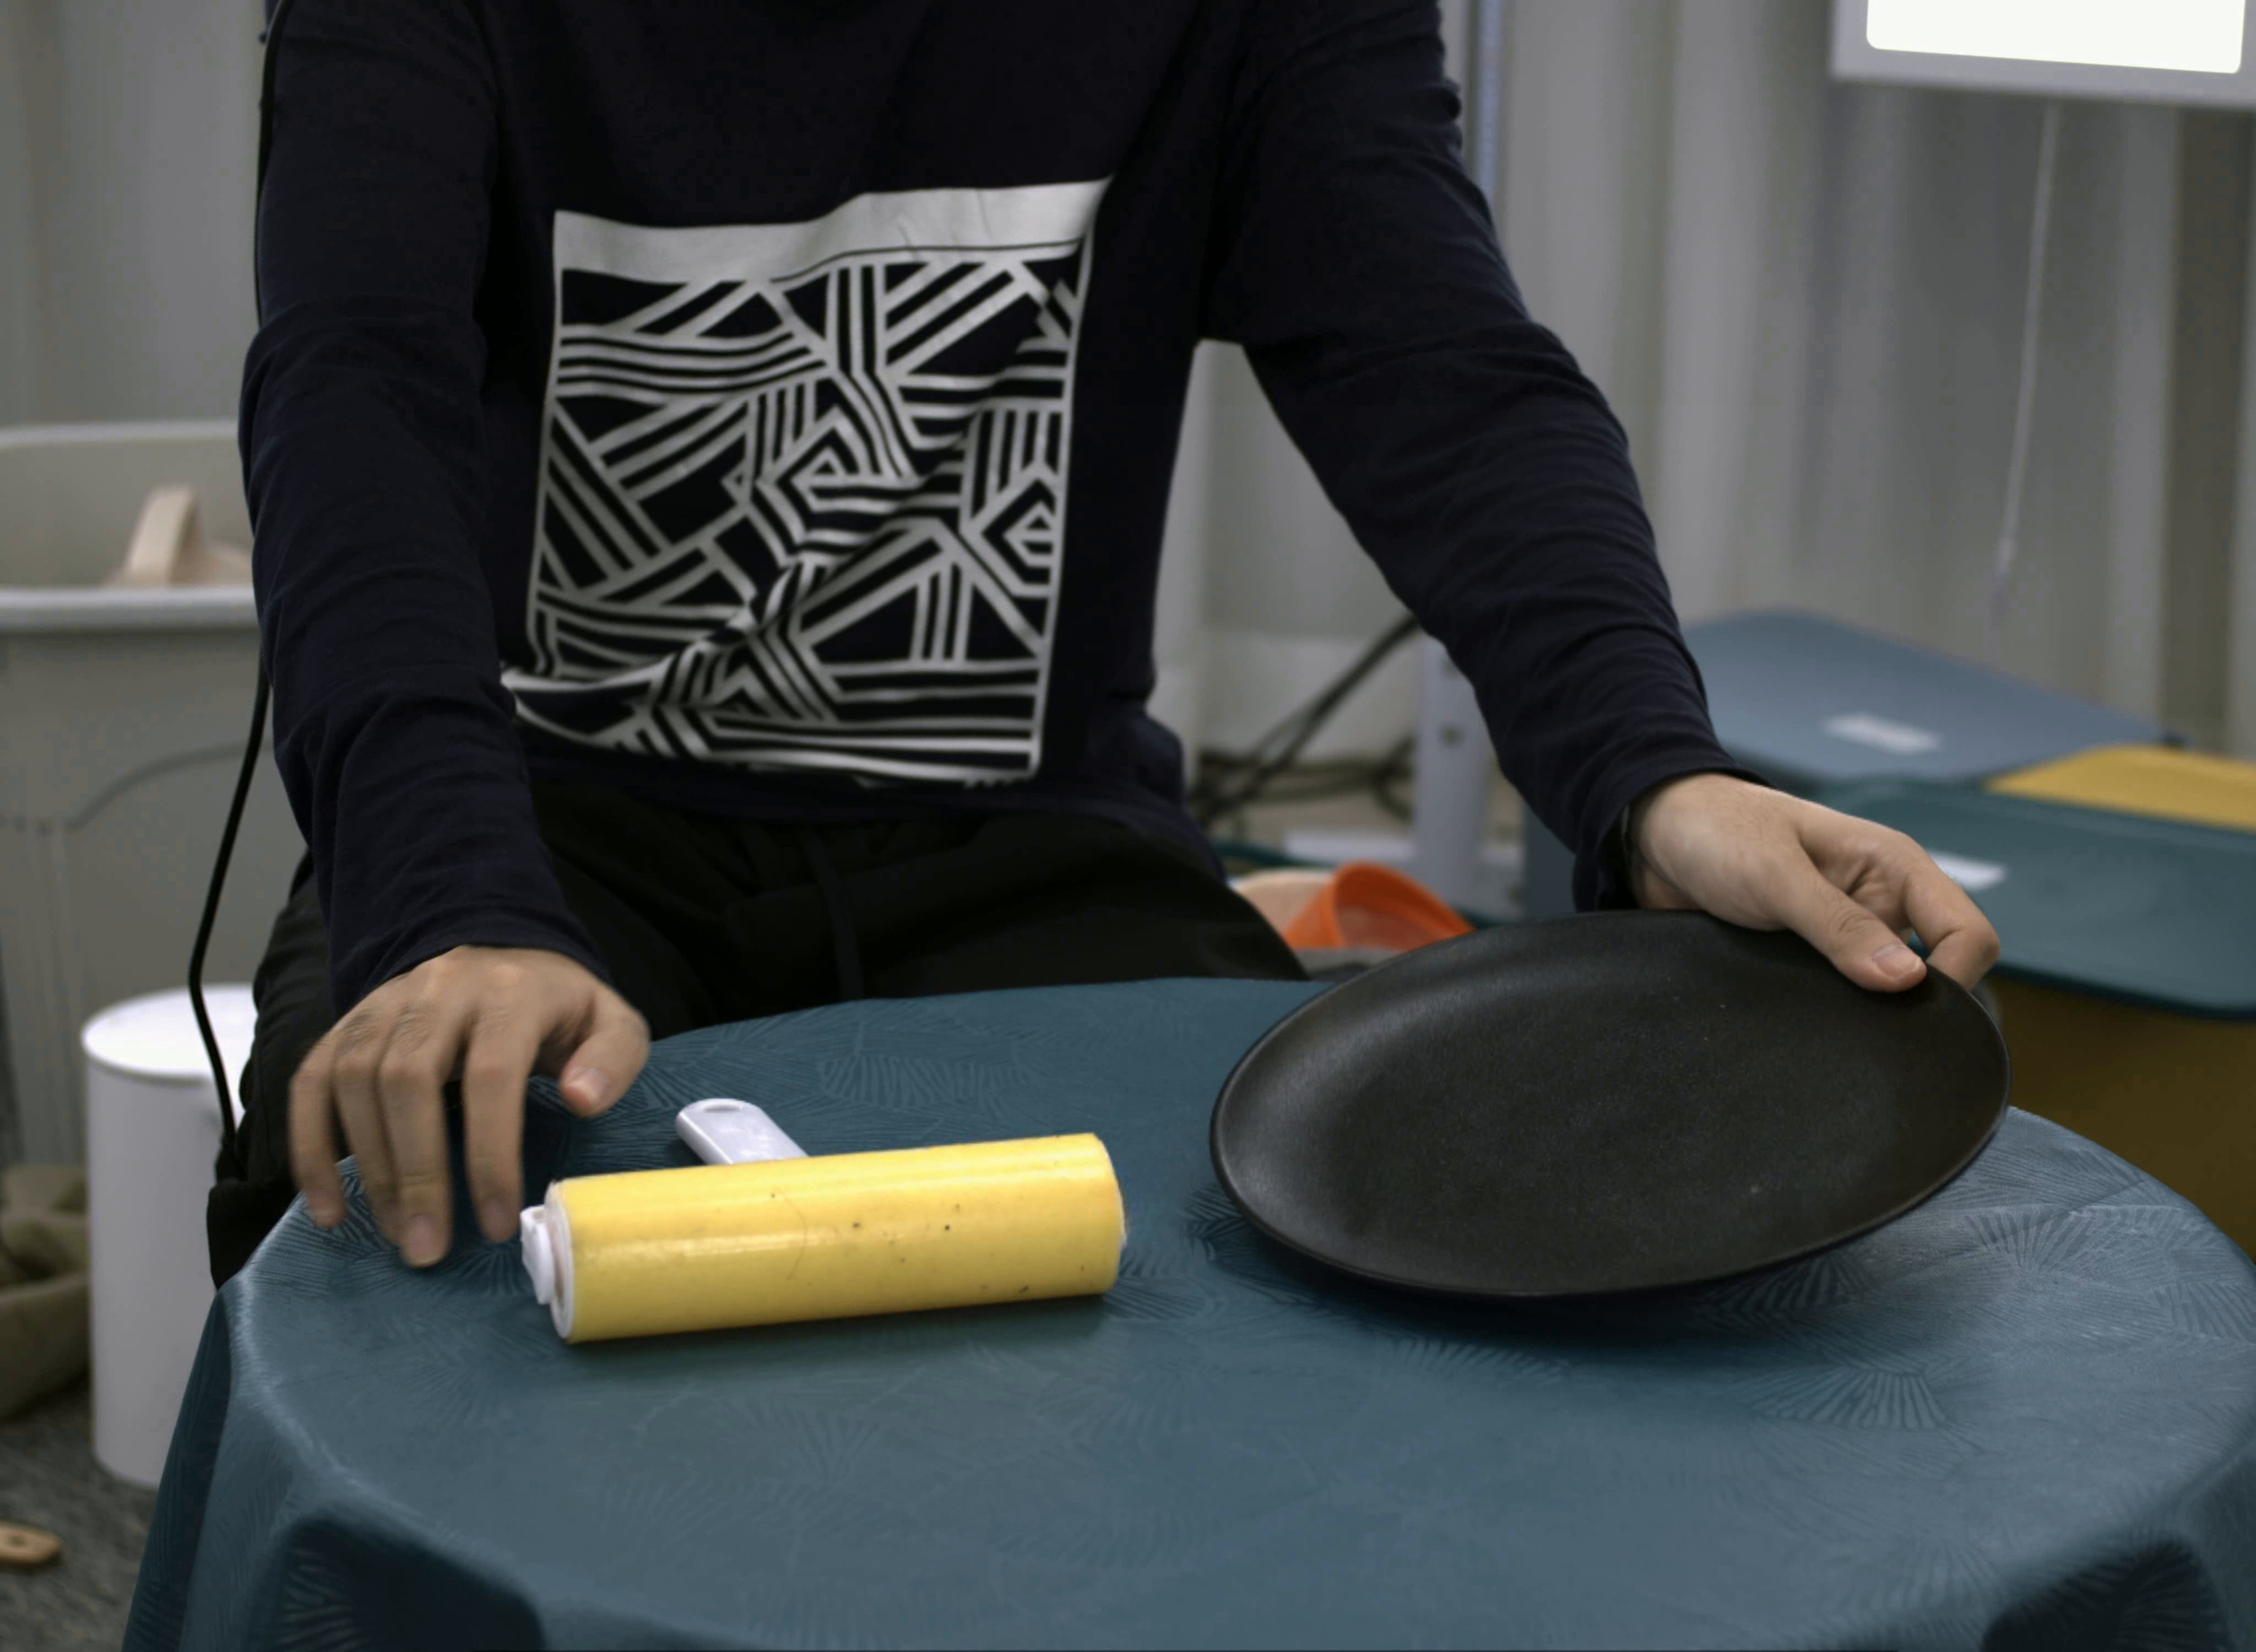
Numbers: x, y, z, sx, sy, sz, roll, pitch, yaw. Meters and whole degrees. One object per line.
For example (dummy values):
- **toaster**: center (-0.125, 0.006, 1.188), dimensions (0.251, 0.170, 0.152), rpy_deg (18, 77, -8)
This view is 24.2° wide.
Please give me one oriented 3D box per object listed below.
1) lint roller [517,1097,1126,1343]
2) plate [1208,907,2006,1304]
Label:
- **lint roller**: center (-0.107, 0.099, 1.577), dimensions (0.174, 0.052, 0.190), rpy_deg (-4, 19, -18)
- **plate**: center (0.145, 0.088, 1.601), dimensions (0.243, 0.024, 0.242), rpy_deg (-7, 25, 4)
